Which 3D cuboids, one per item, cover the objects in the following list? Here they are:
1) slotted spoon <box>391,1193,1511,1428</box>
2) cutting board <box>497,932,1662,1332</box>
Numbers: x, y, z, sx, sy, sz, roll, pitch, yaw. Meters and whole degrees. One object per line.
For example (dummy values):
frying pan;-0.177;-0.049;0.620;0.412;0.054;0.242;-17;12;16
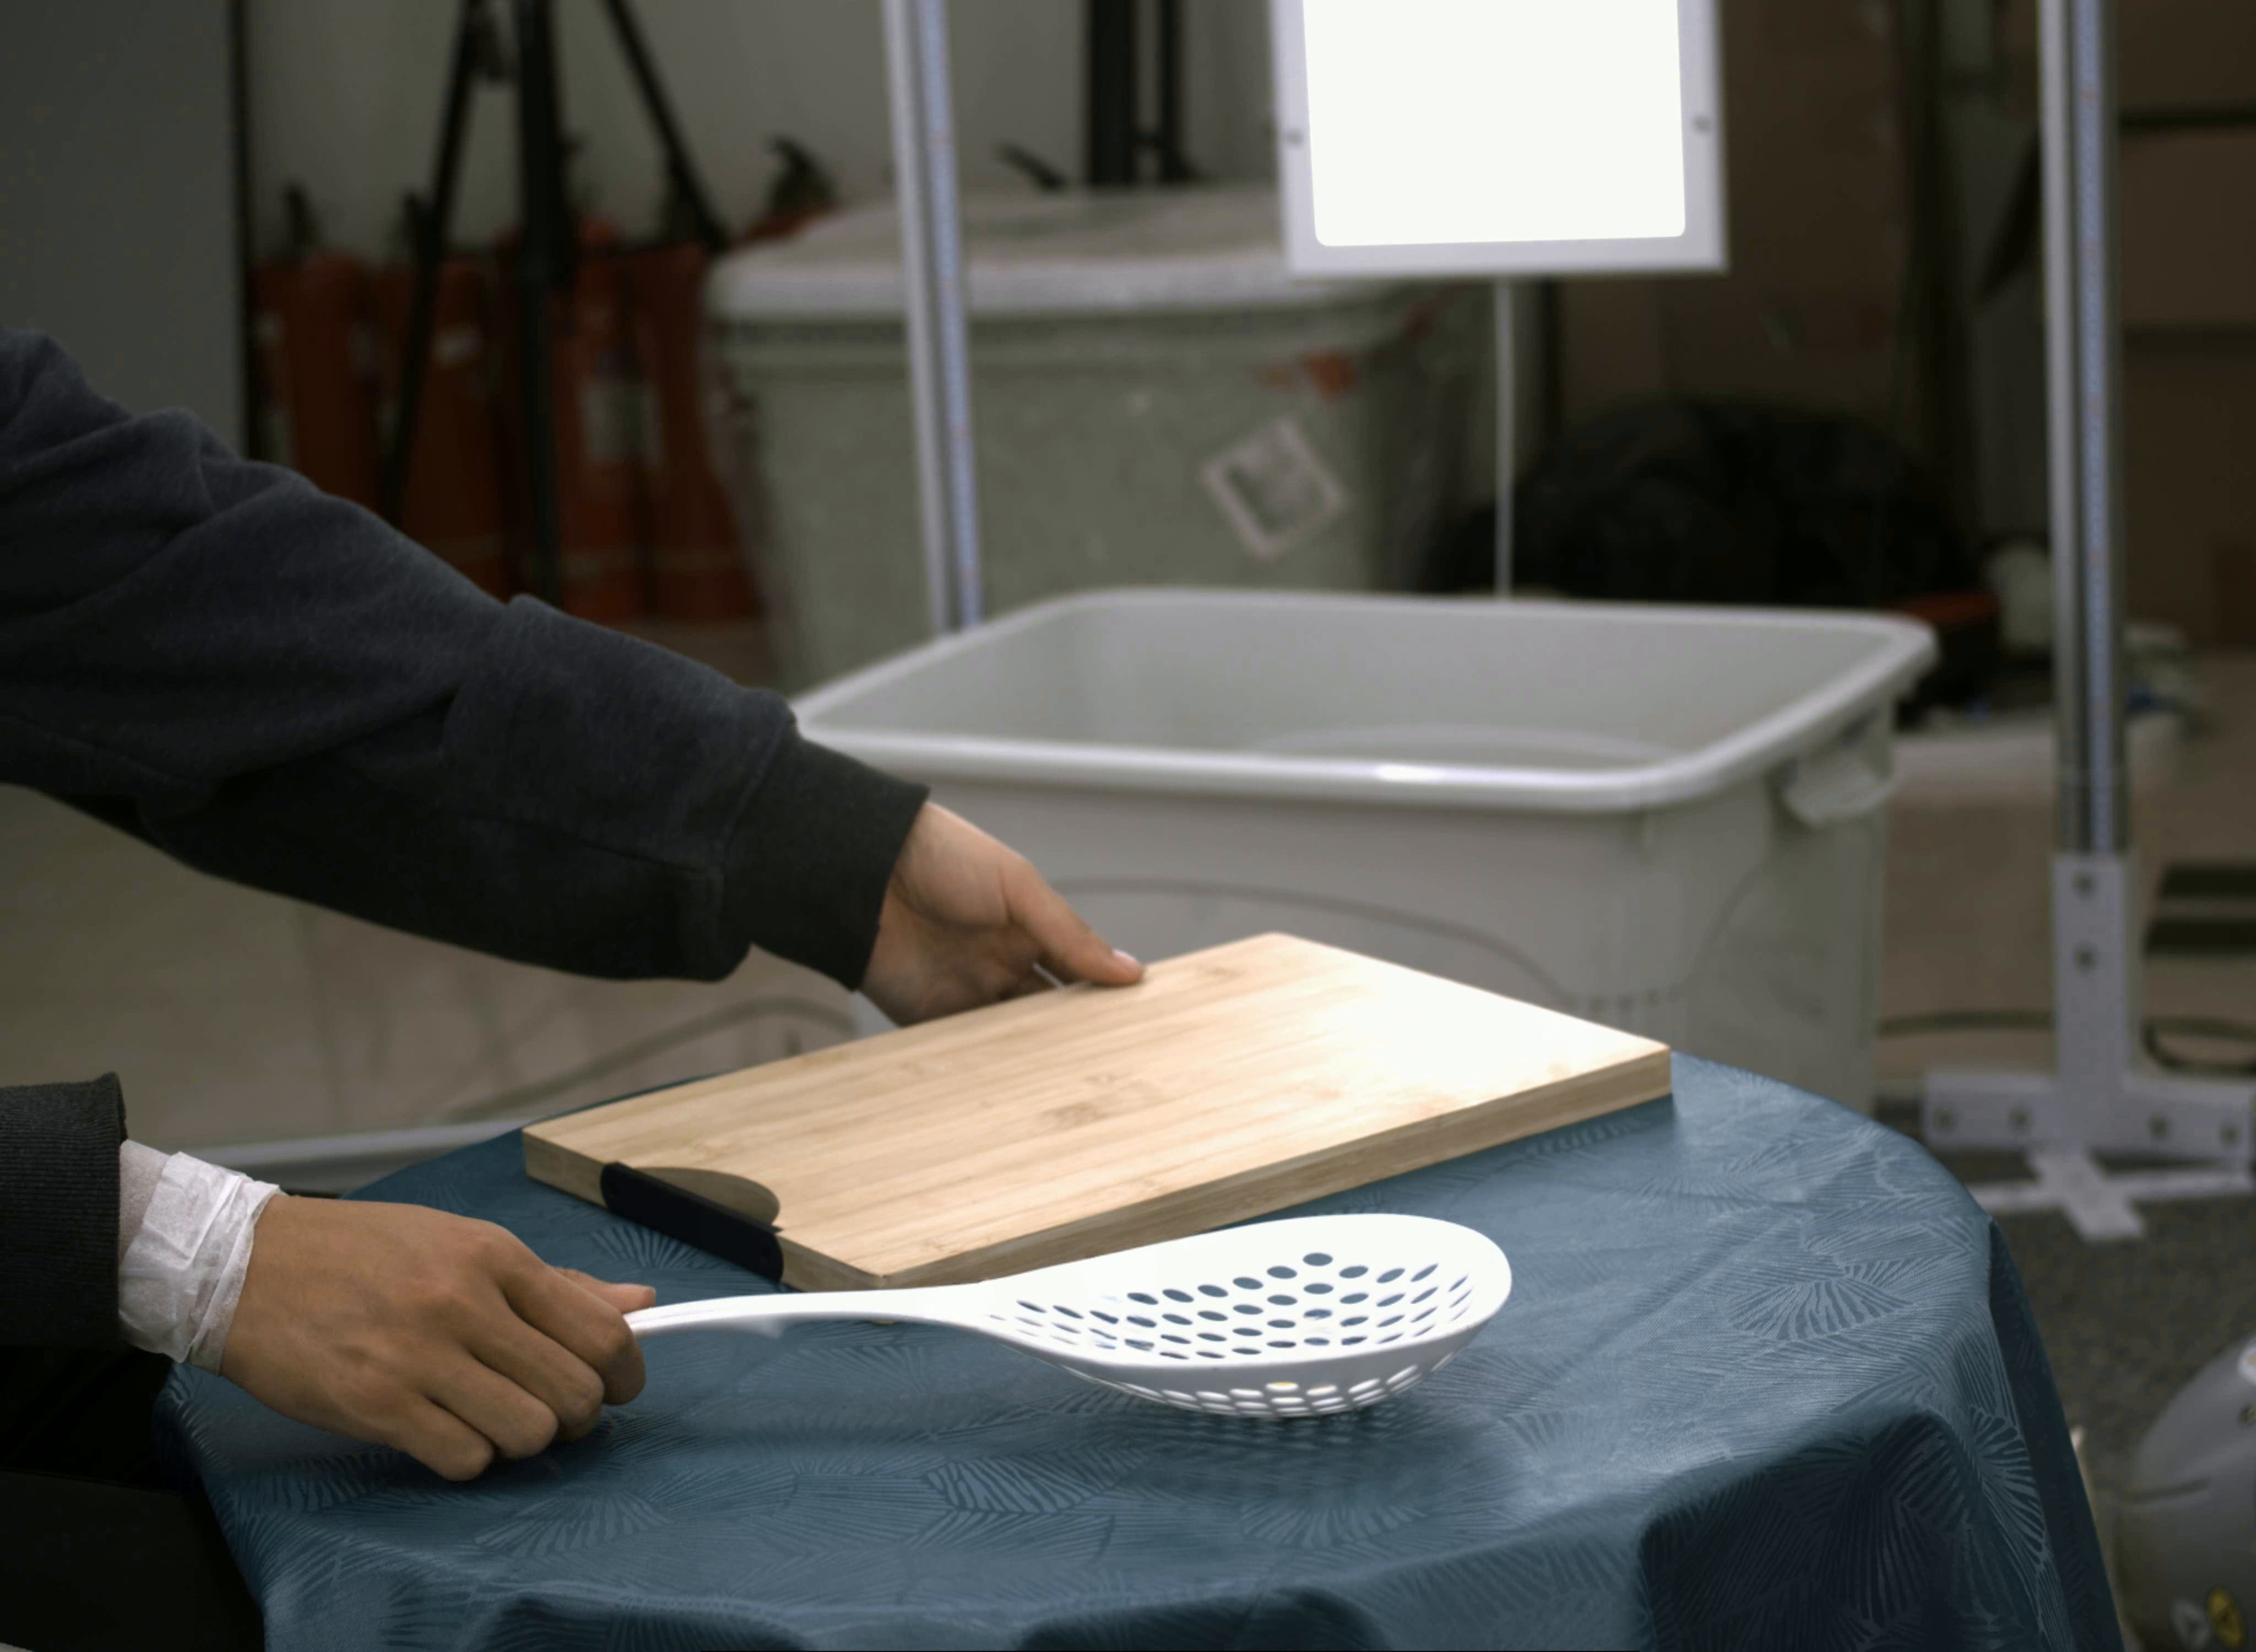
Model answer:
slotted spoon;-0.056;0.157;1.690;0.349;0.050;0.135;-1;15;8
cutting board;-0.015;0.103;1.962;0.340;0.023;0.256;-14;16;-32
